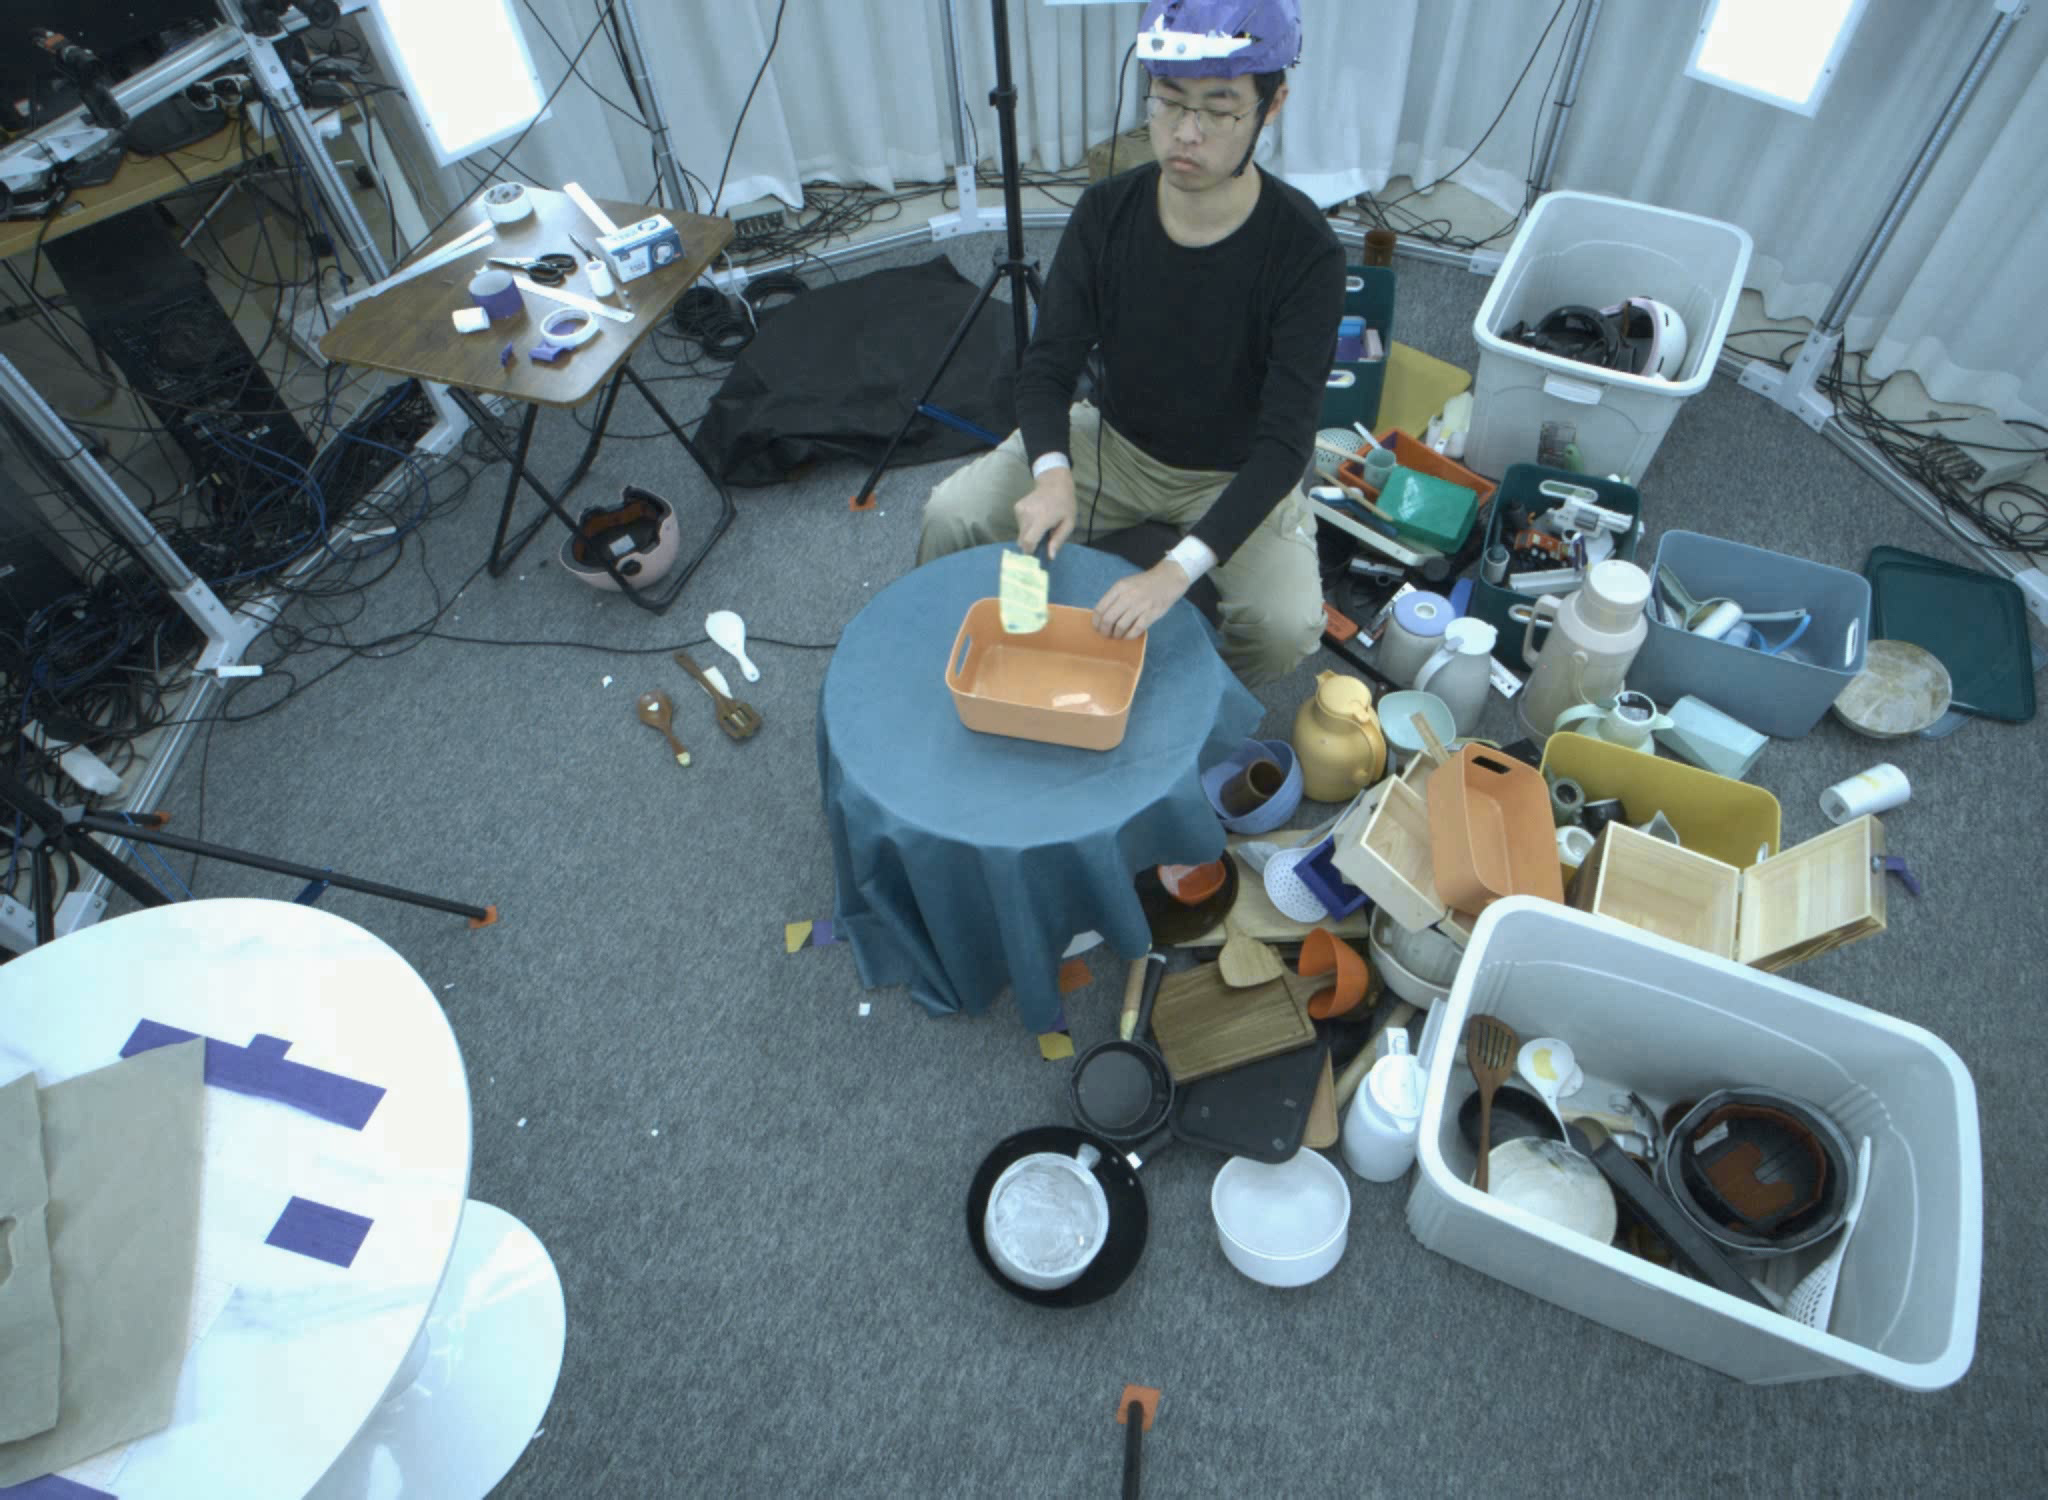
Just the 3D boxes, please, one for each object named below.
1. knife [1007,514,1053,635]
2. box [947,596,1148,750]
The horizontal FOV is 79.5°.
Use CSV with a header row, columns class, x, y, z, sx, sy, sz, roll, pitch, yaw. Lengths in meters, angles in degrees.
class,x,y,z,sx,sy,sz,roll,pitch,yaw
knife,0.010,-0.263,1.800,0.082,0.027,0.286,24,42,-19
box,0.038,-0.111,1.801,0.271,0.103,0.198,9,57,9
